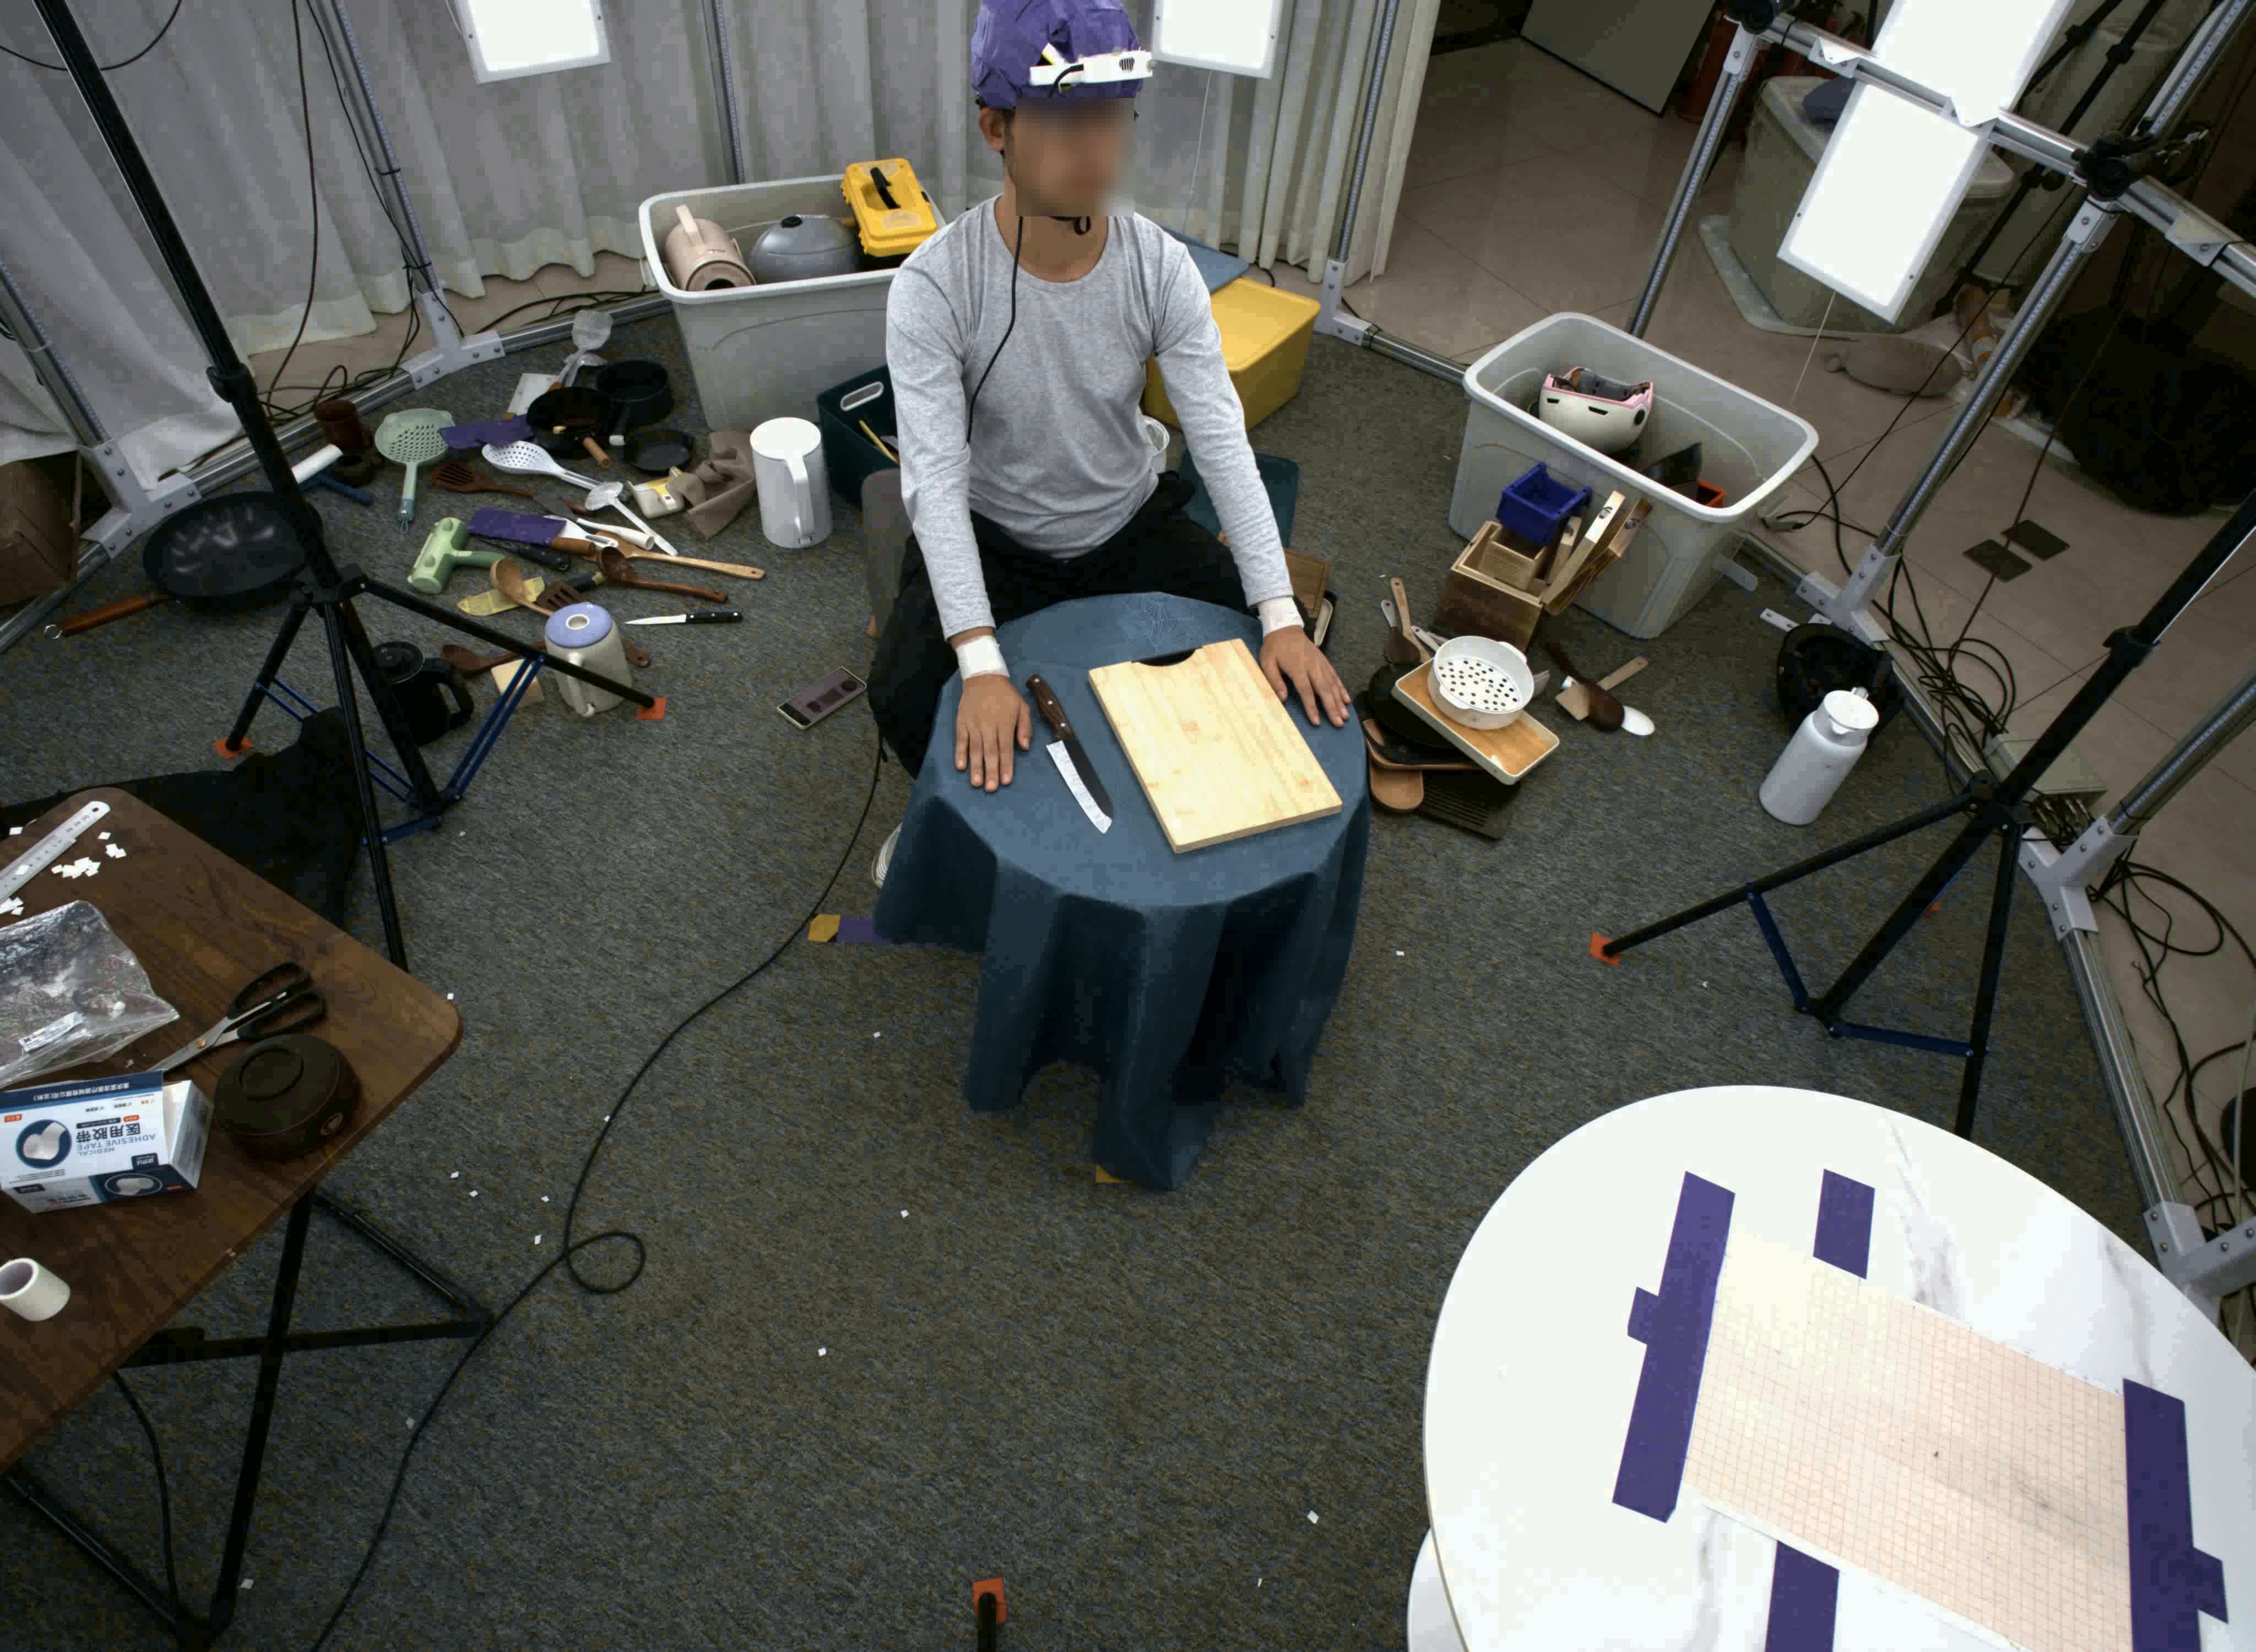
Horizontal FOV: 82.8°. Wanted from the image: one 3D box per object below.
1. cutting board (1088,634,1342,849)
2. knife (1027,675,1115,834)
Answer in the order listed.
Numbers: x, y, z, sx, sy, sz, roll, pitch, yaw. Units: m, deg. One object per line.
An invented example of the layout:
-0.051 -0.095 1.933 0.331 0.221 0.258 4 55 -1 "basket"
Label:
0.113 -0.124 1.773 0.251 0.023 0.357 -14 51 -16 "cutting board"
-0.080 -0.100 1.739 0.050 0.019 0.296 -17 55 -12 "knife"
